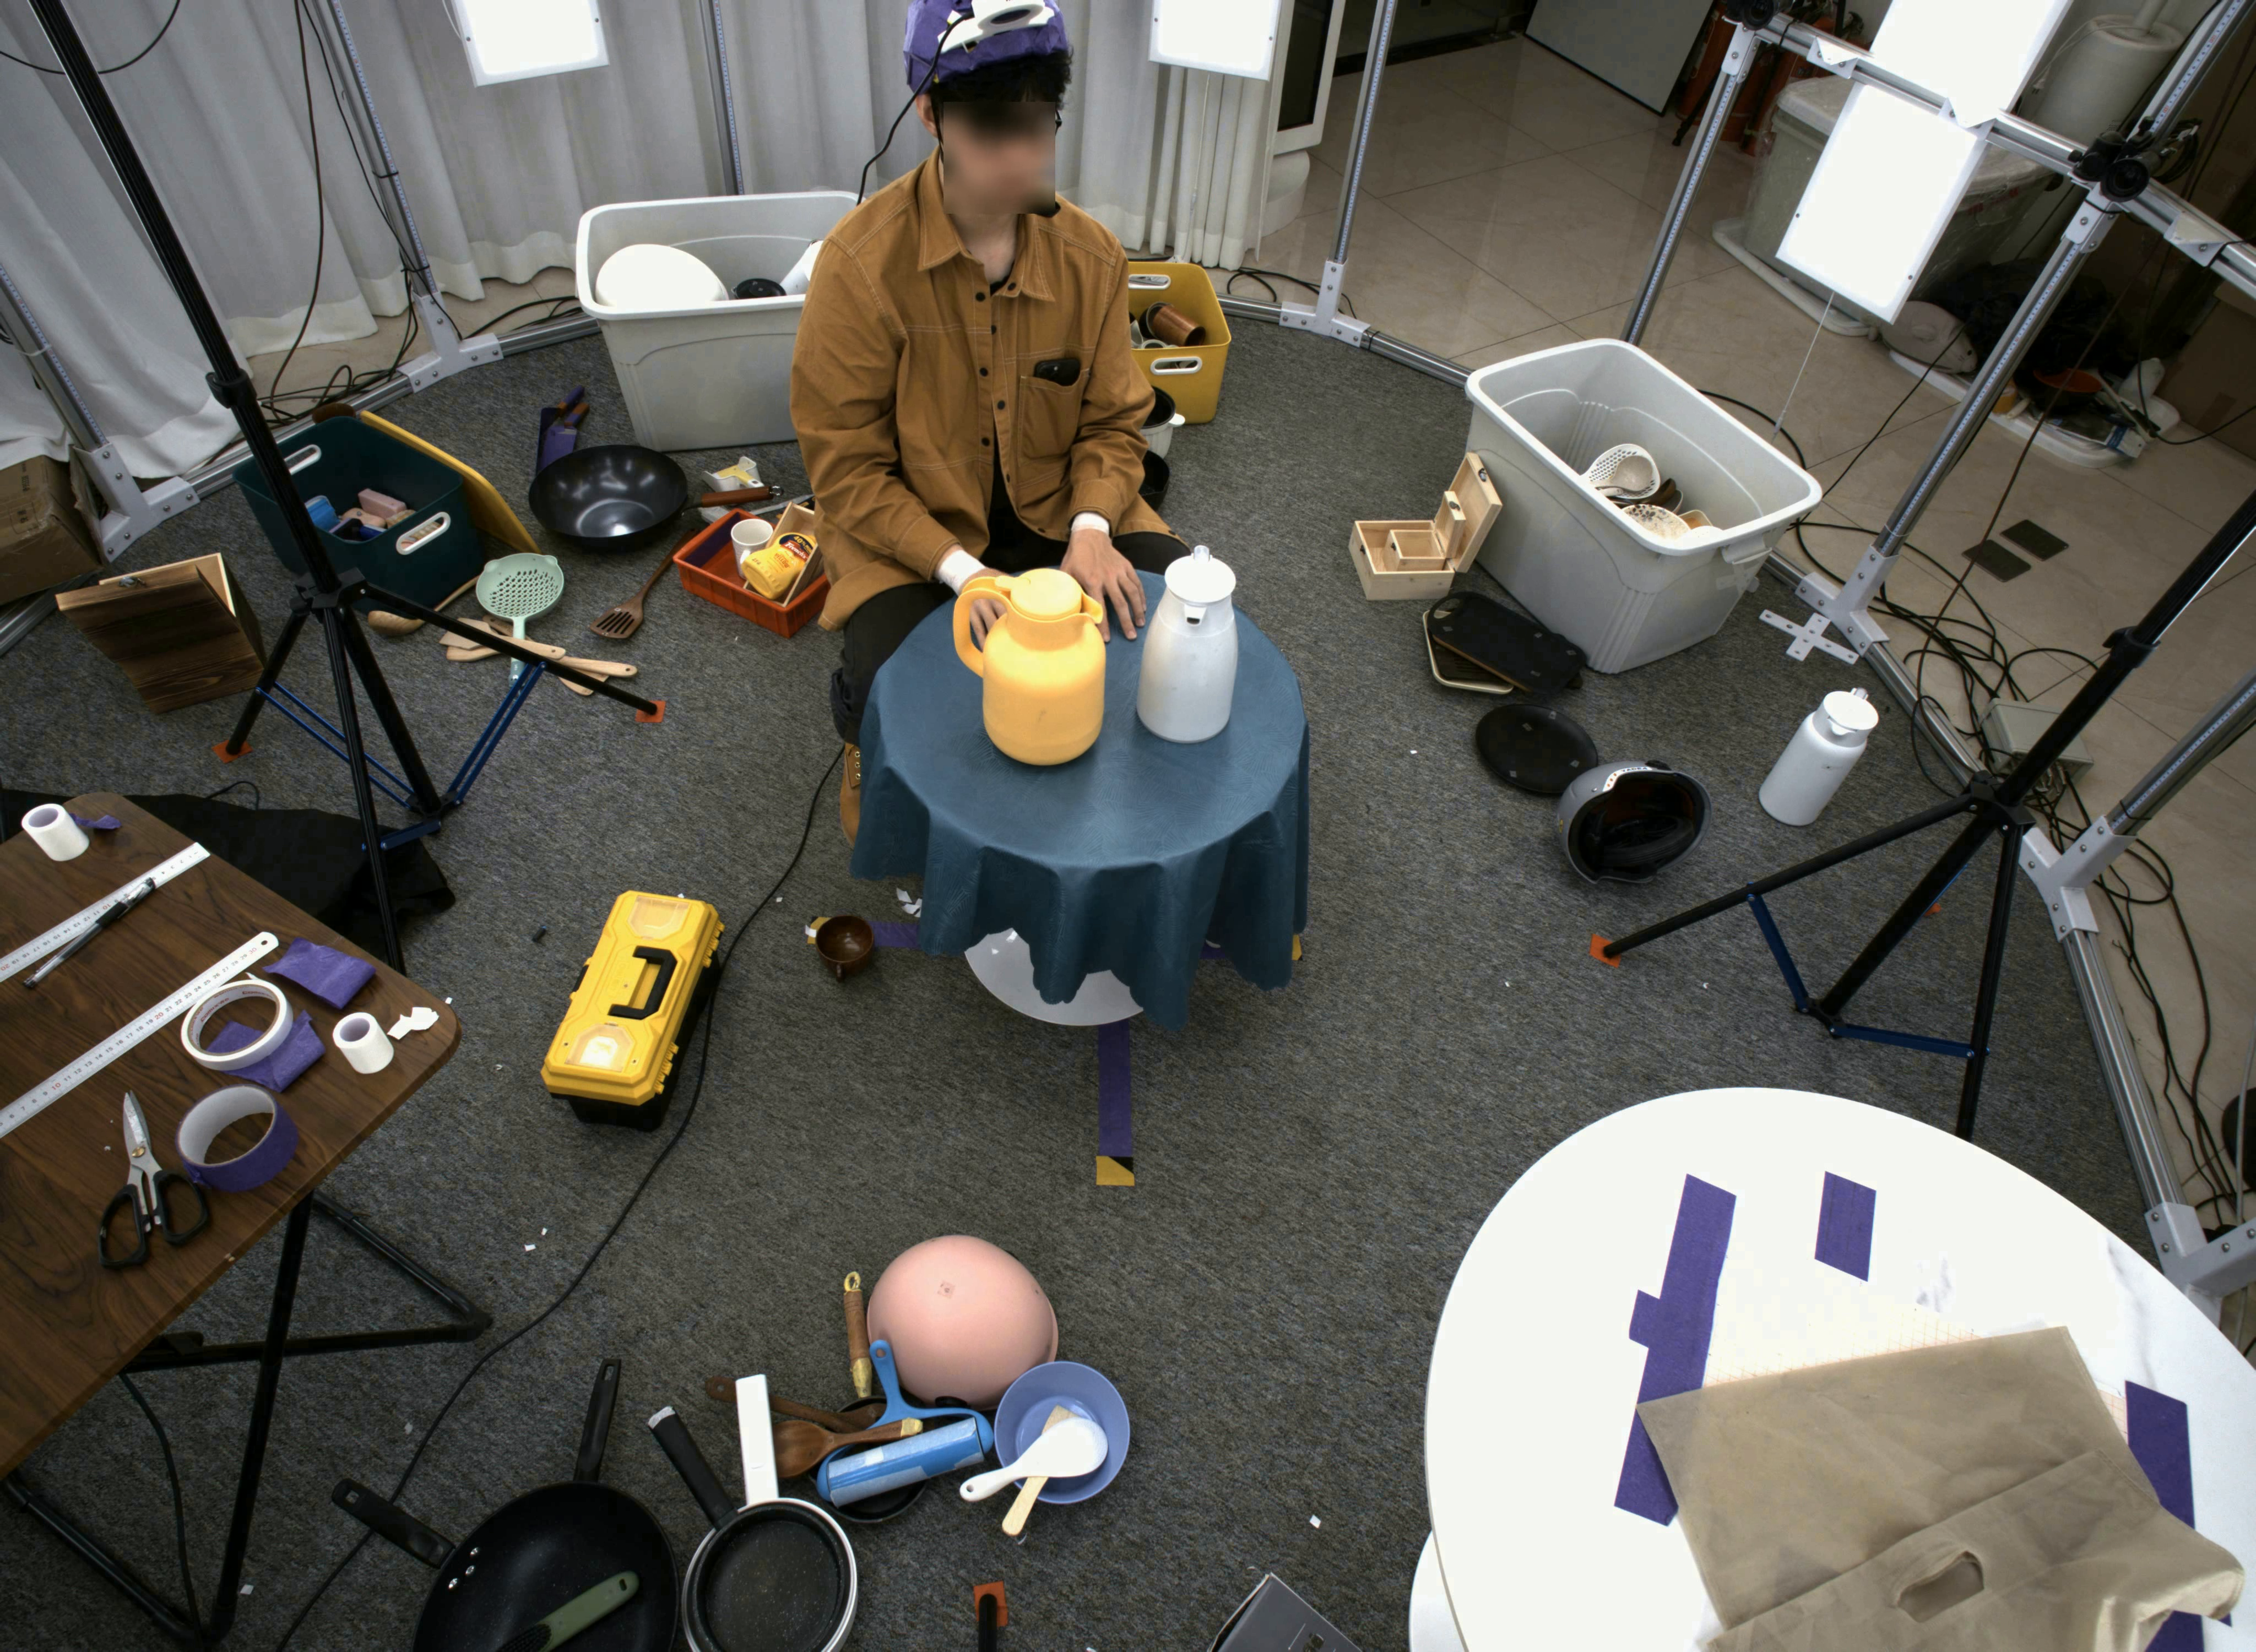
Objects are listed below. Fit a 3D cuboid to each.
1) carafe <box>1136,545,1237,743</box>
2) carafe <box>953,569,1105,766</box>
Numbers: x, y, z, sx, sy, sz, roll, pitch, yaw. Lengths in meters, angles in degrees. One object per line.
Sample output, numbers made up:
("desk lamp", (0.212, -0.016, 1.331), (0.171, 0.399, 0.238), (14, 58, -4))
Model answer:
("carafe", (0.086, -0.258, 1.738), (0.132, 0.242, 0.172), (8, 49, 3))
("carafe", (-0.128, -0.218, 1.683), (0.203, 0.254, 0.167), (17, 48, 9))
